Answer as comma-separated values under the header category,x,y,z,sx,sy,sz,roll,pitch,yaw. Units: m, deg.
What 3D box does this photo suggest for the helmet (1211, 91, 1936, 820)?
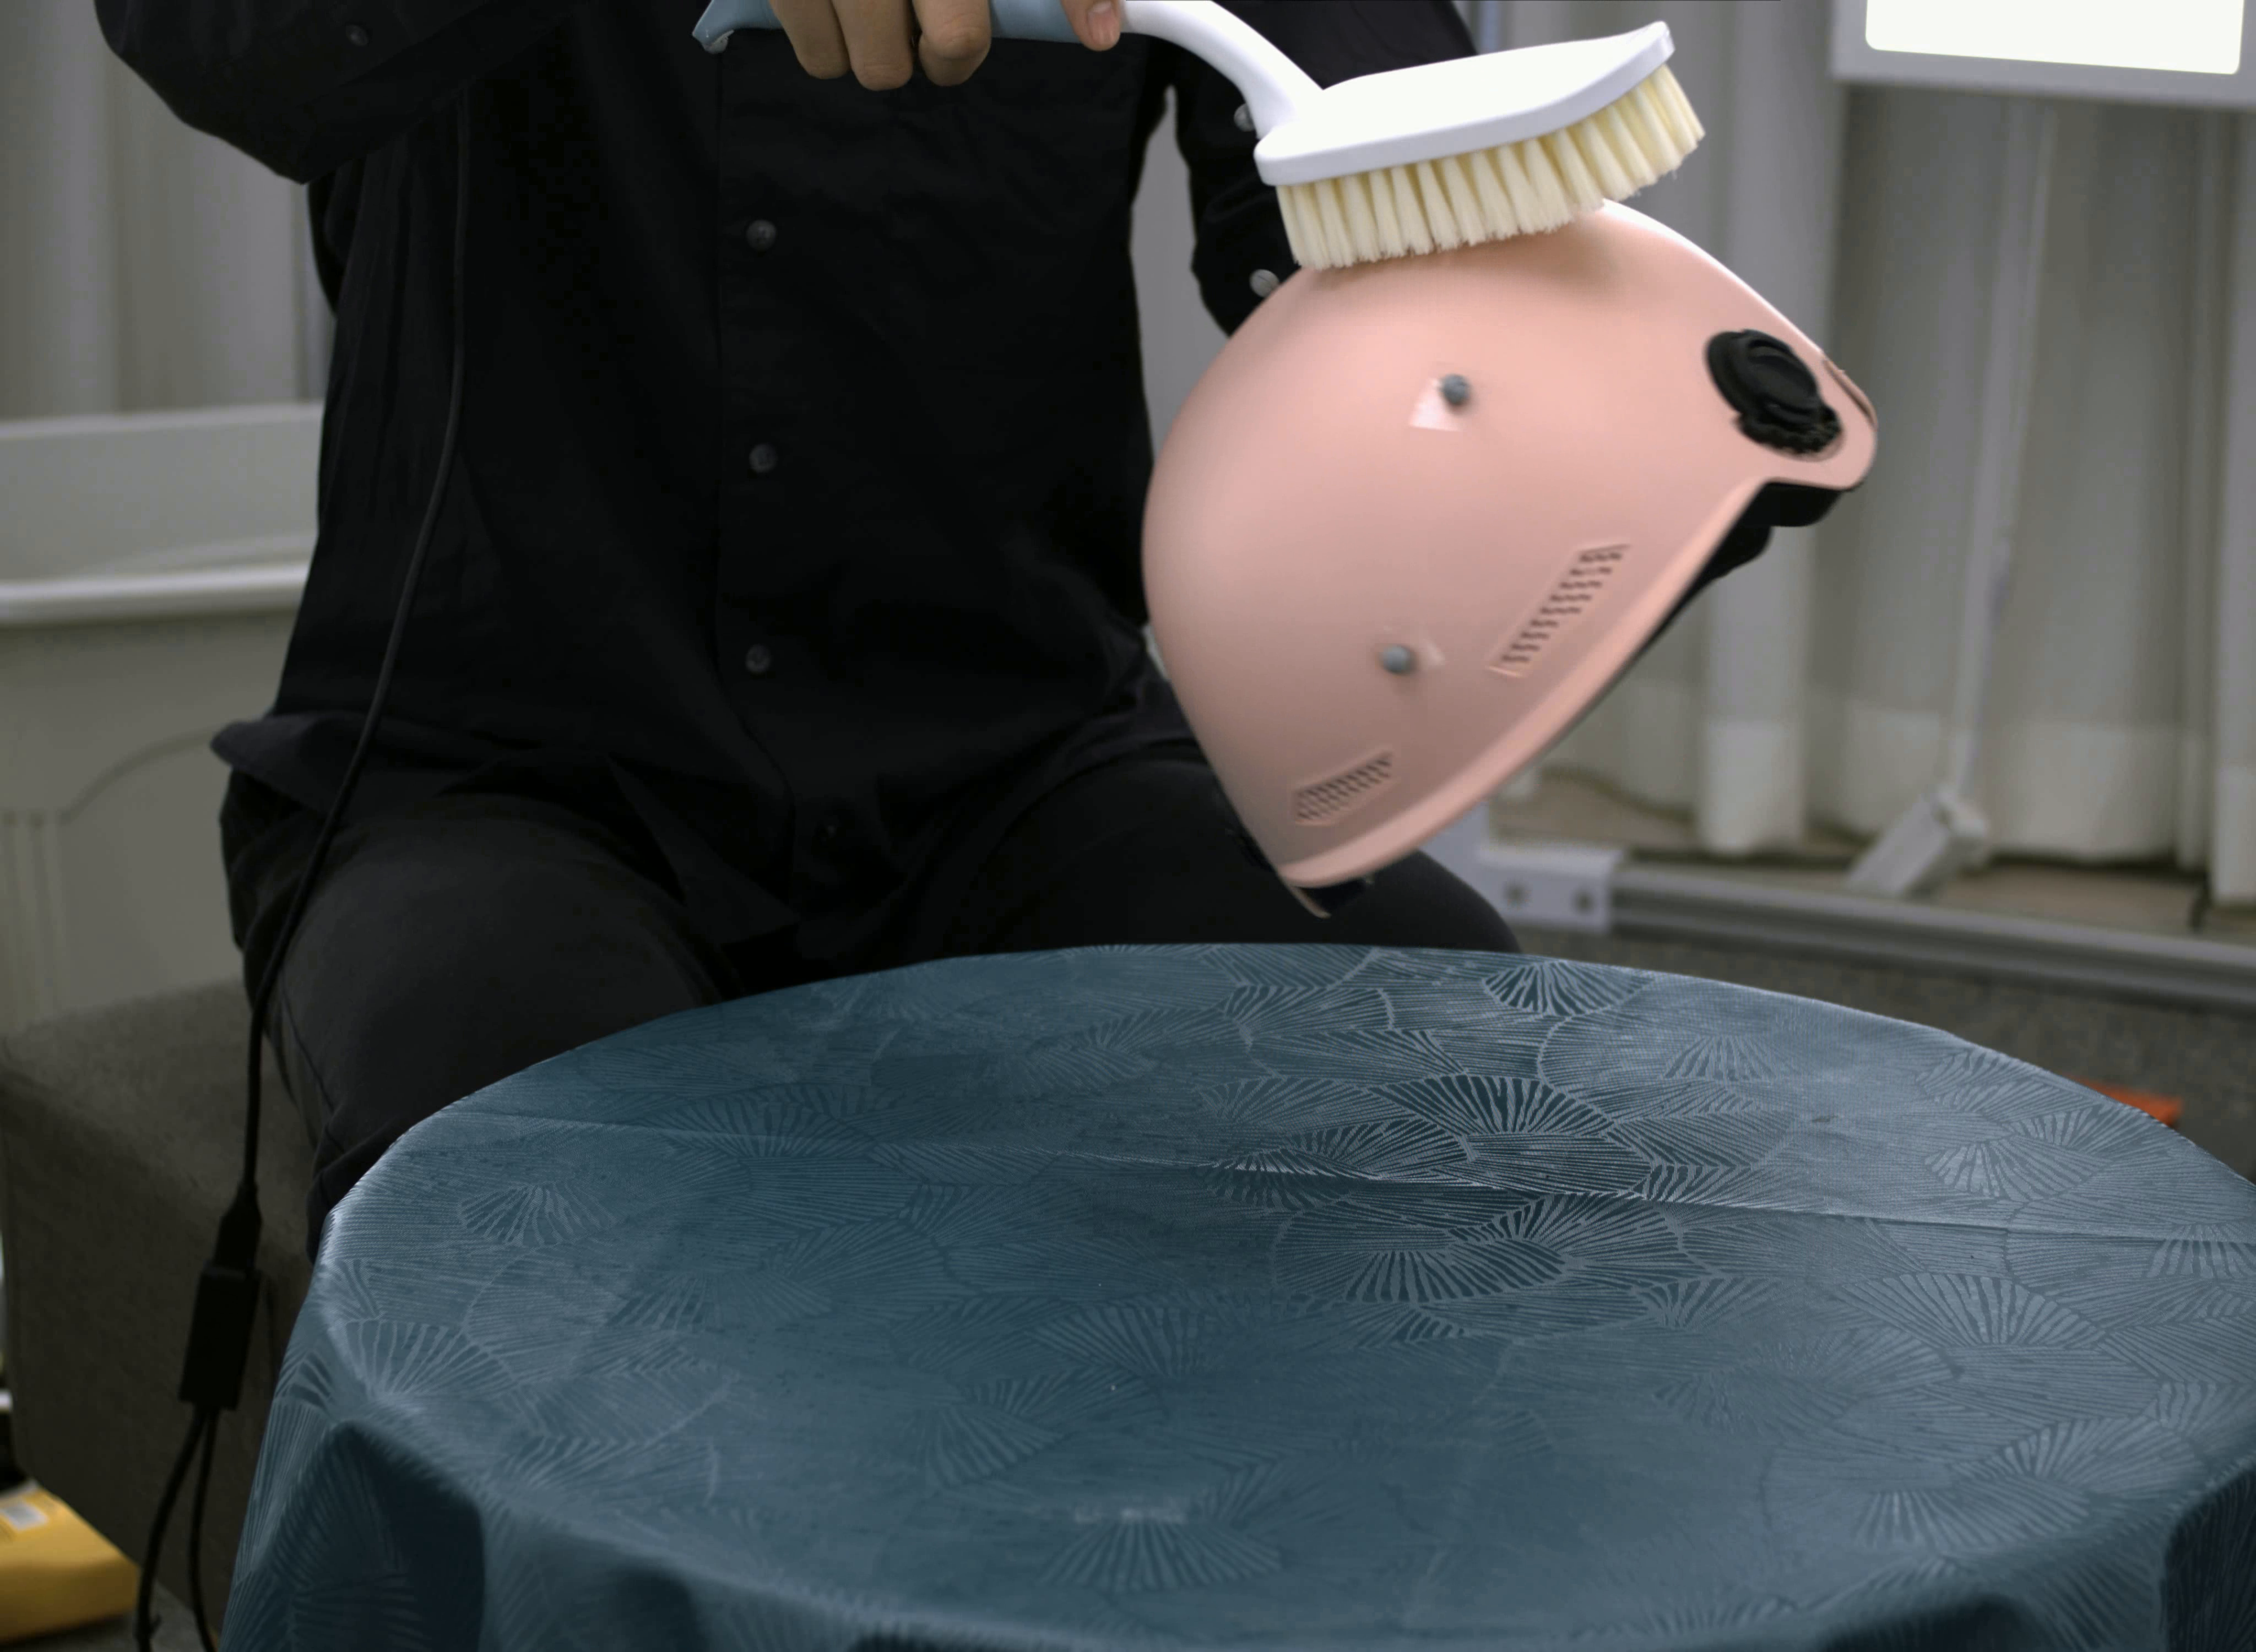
category,x,y,z,sx,sy,sz,roll,pitch,yaw
helmet,0.116,-0.131,1.620,0.234,0.159,0.265,-40,7,23

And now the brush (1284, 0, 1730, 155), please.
category,x,y,z,sx,sy,sz,roll,pitch,yaw
brush,0.030,-0.246,1.614,0.322,0.084,0.084,6,-8,24
